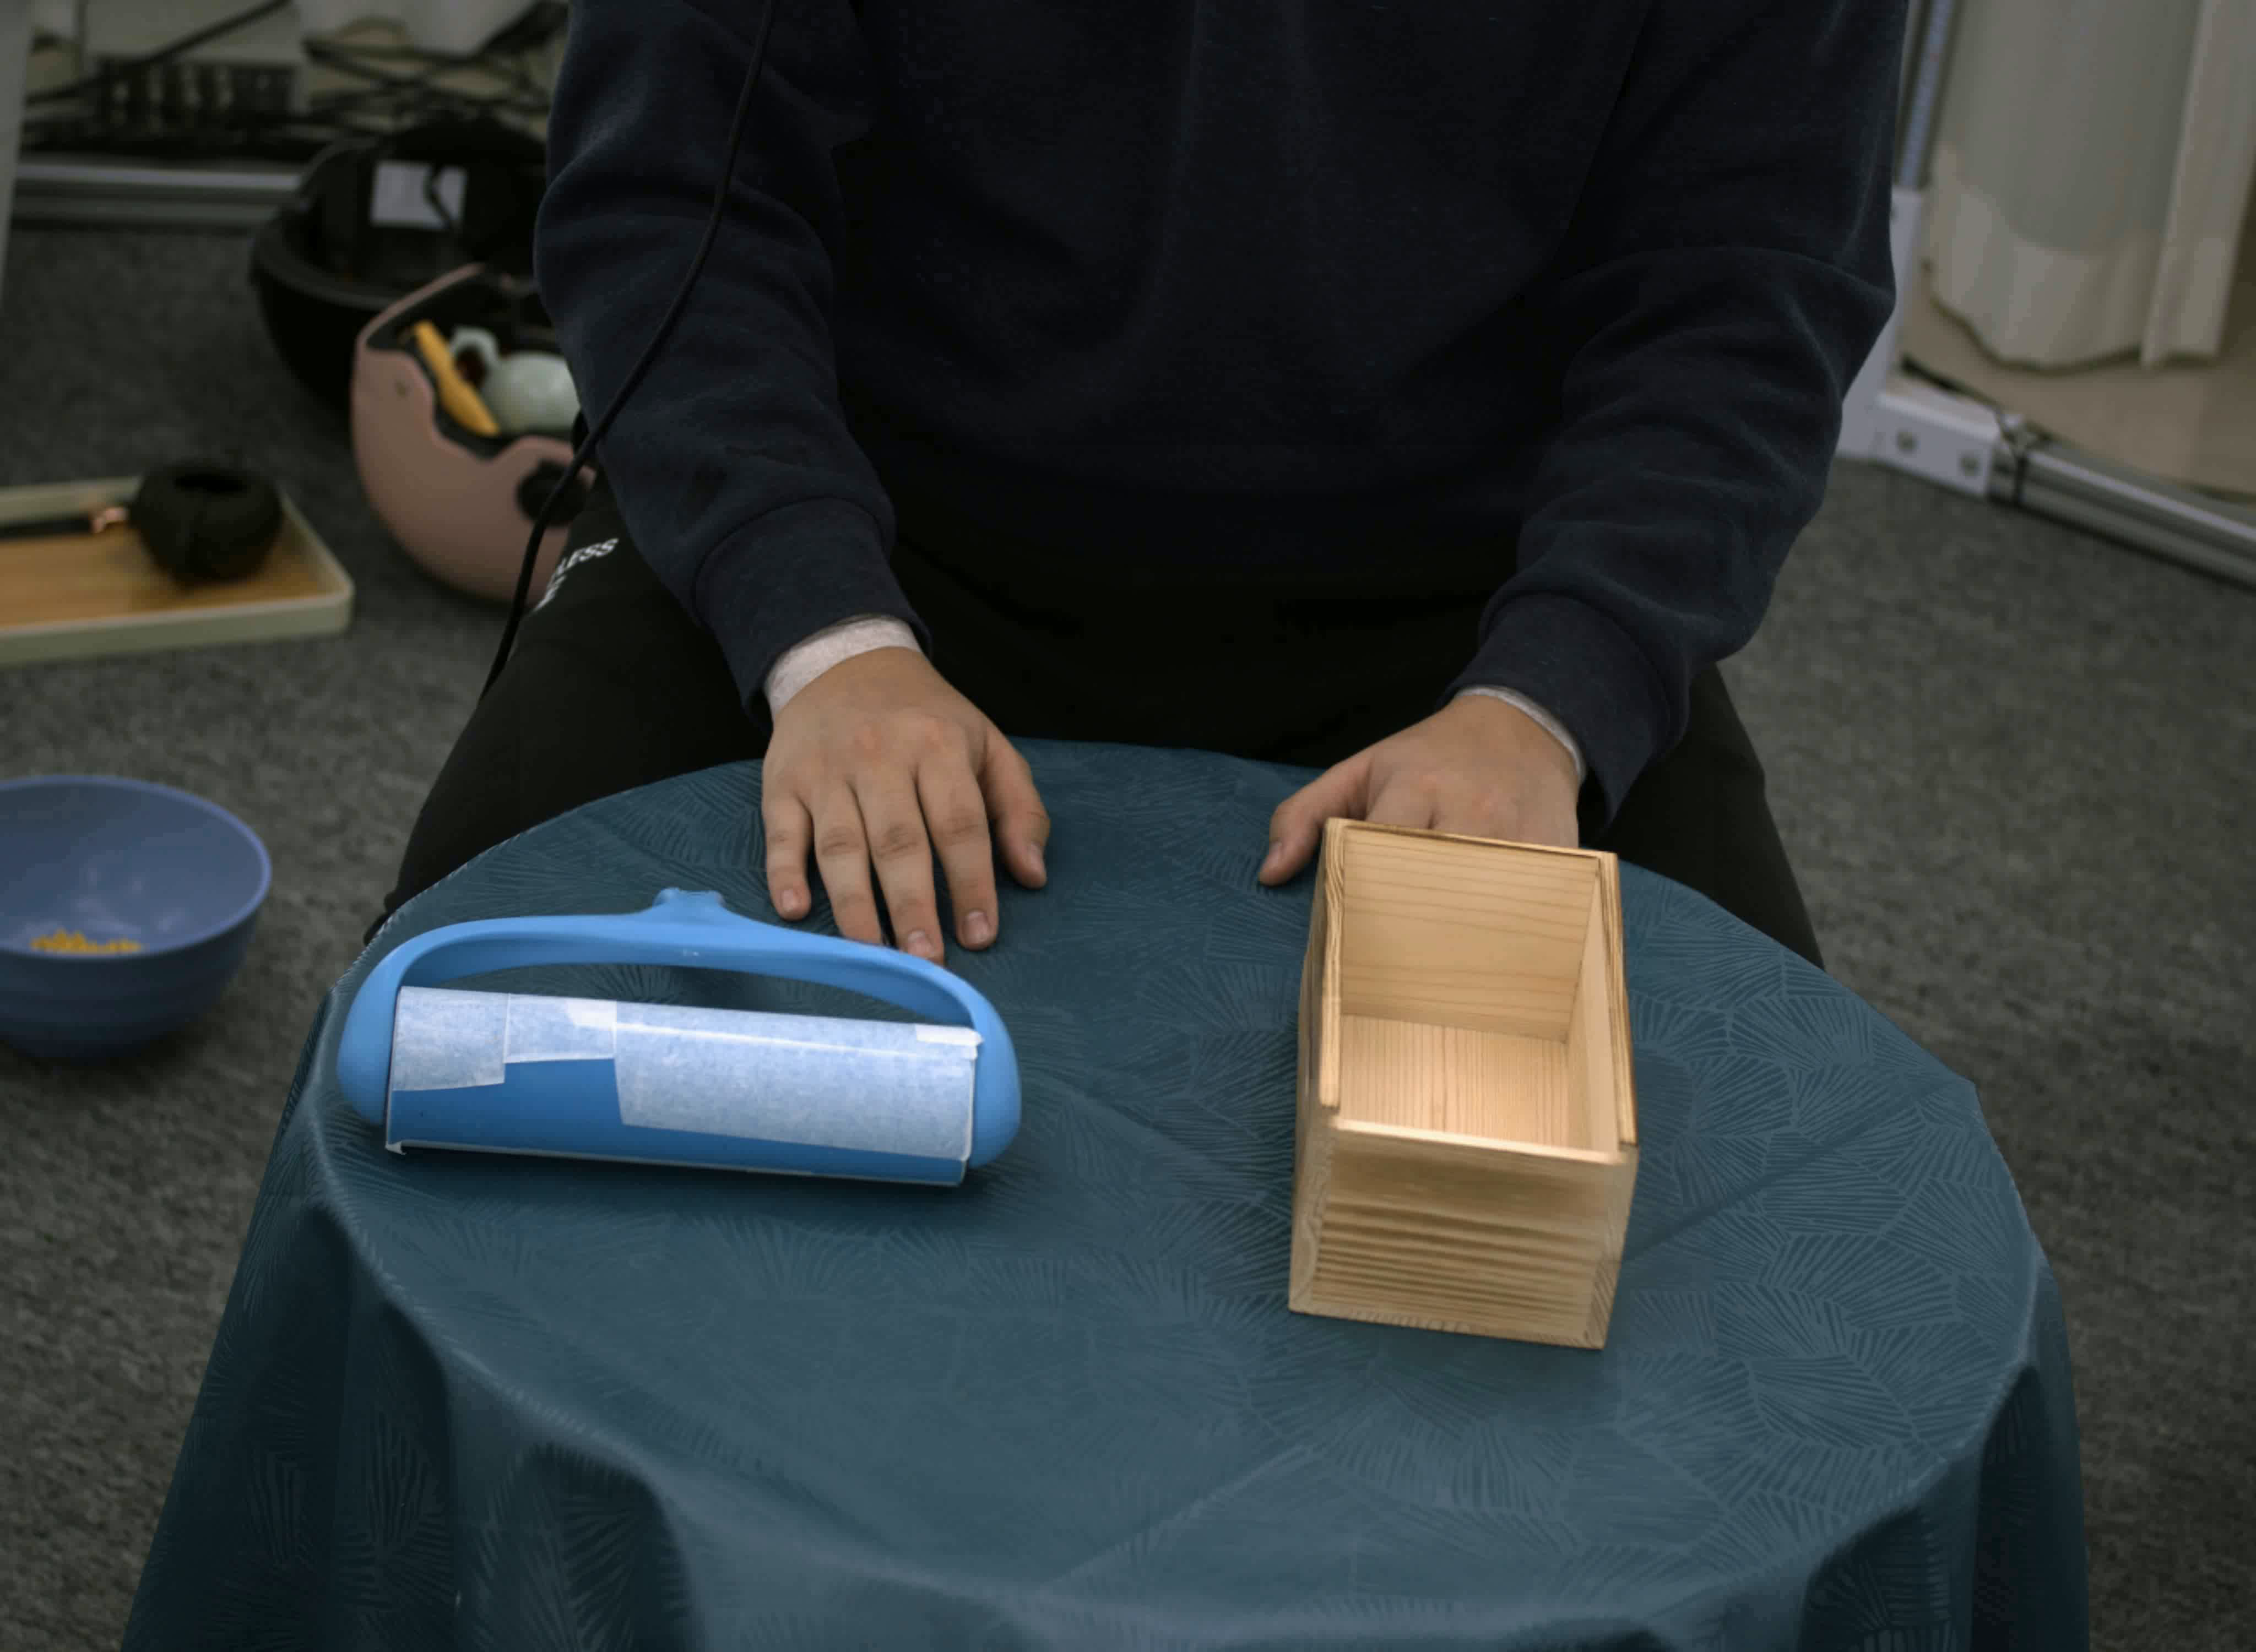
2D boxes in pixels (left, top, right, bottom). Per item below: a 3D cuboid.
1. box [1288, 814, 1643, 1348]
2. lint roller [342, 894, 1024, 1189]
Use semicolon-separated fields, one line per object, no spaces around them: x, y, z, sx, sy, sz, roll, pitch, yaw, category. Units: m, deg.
0.114;0.084;1.824;0.107;0.080;0.212;7;27;-1;box
-0.153;0.058;1.833;0.228;0.067;0.181;2;29;-6;lint roller
